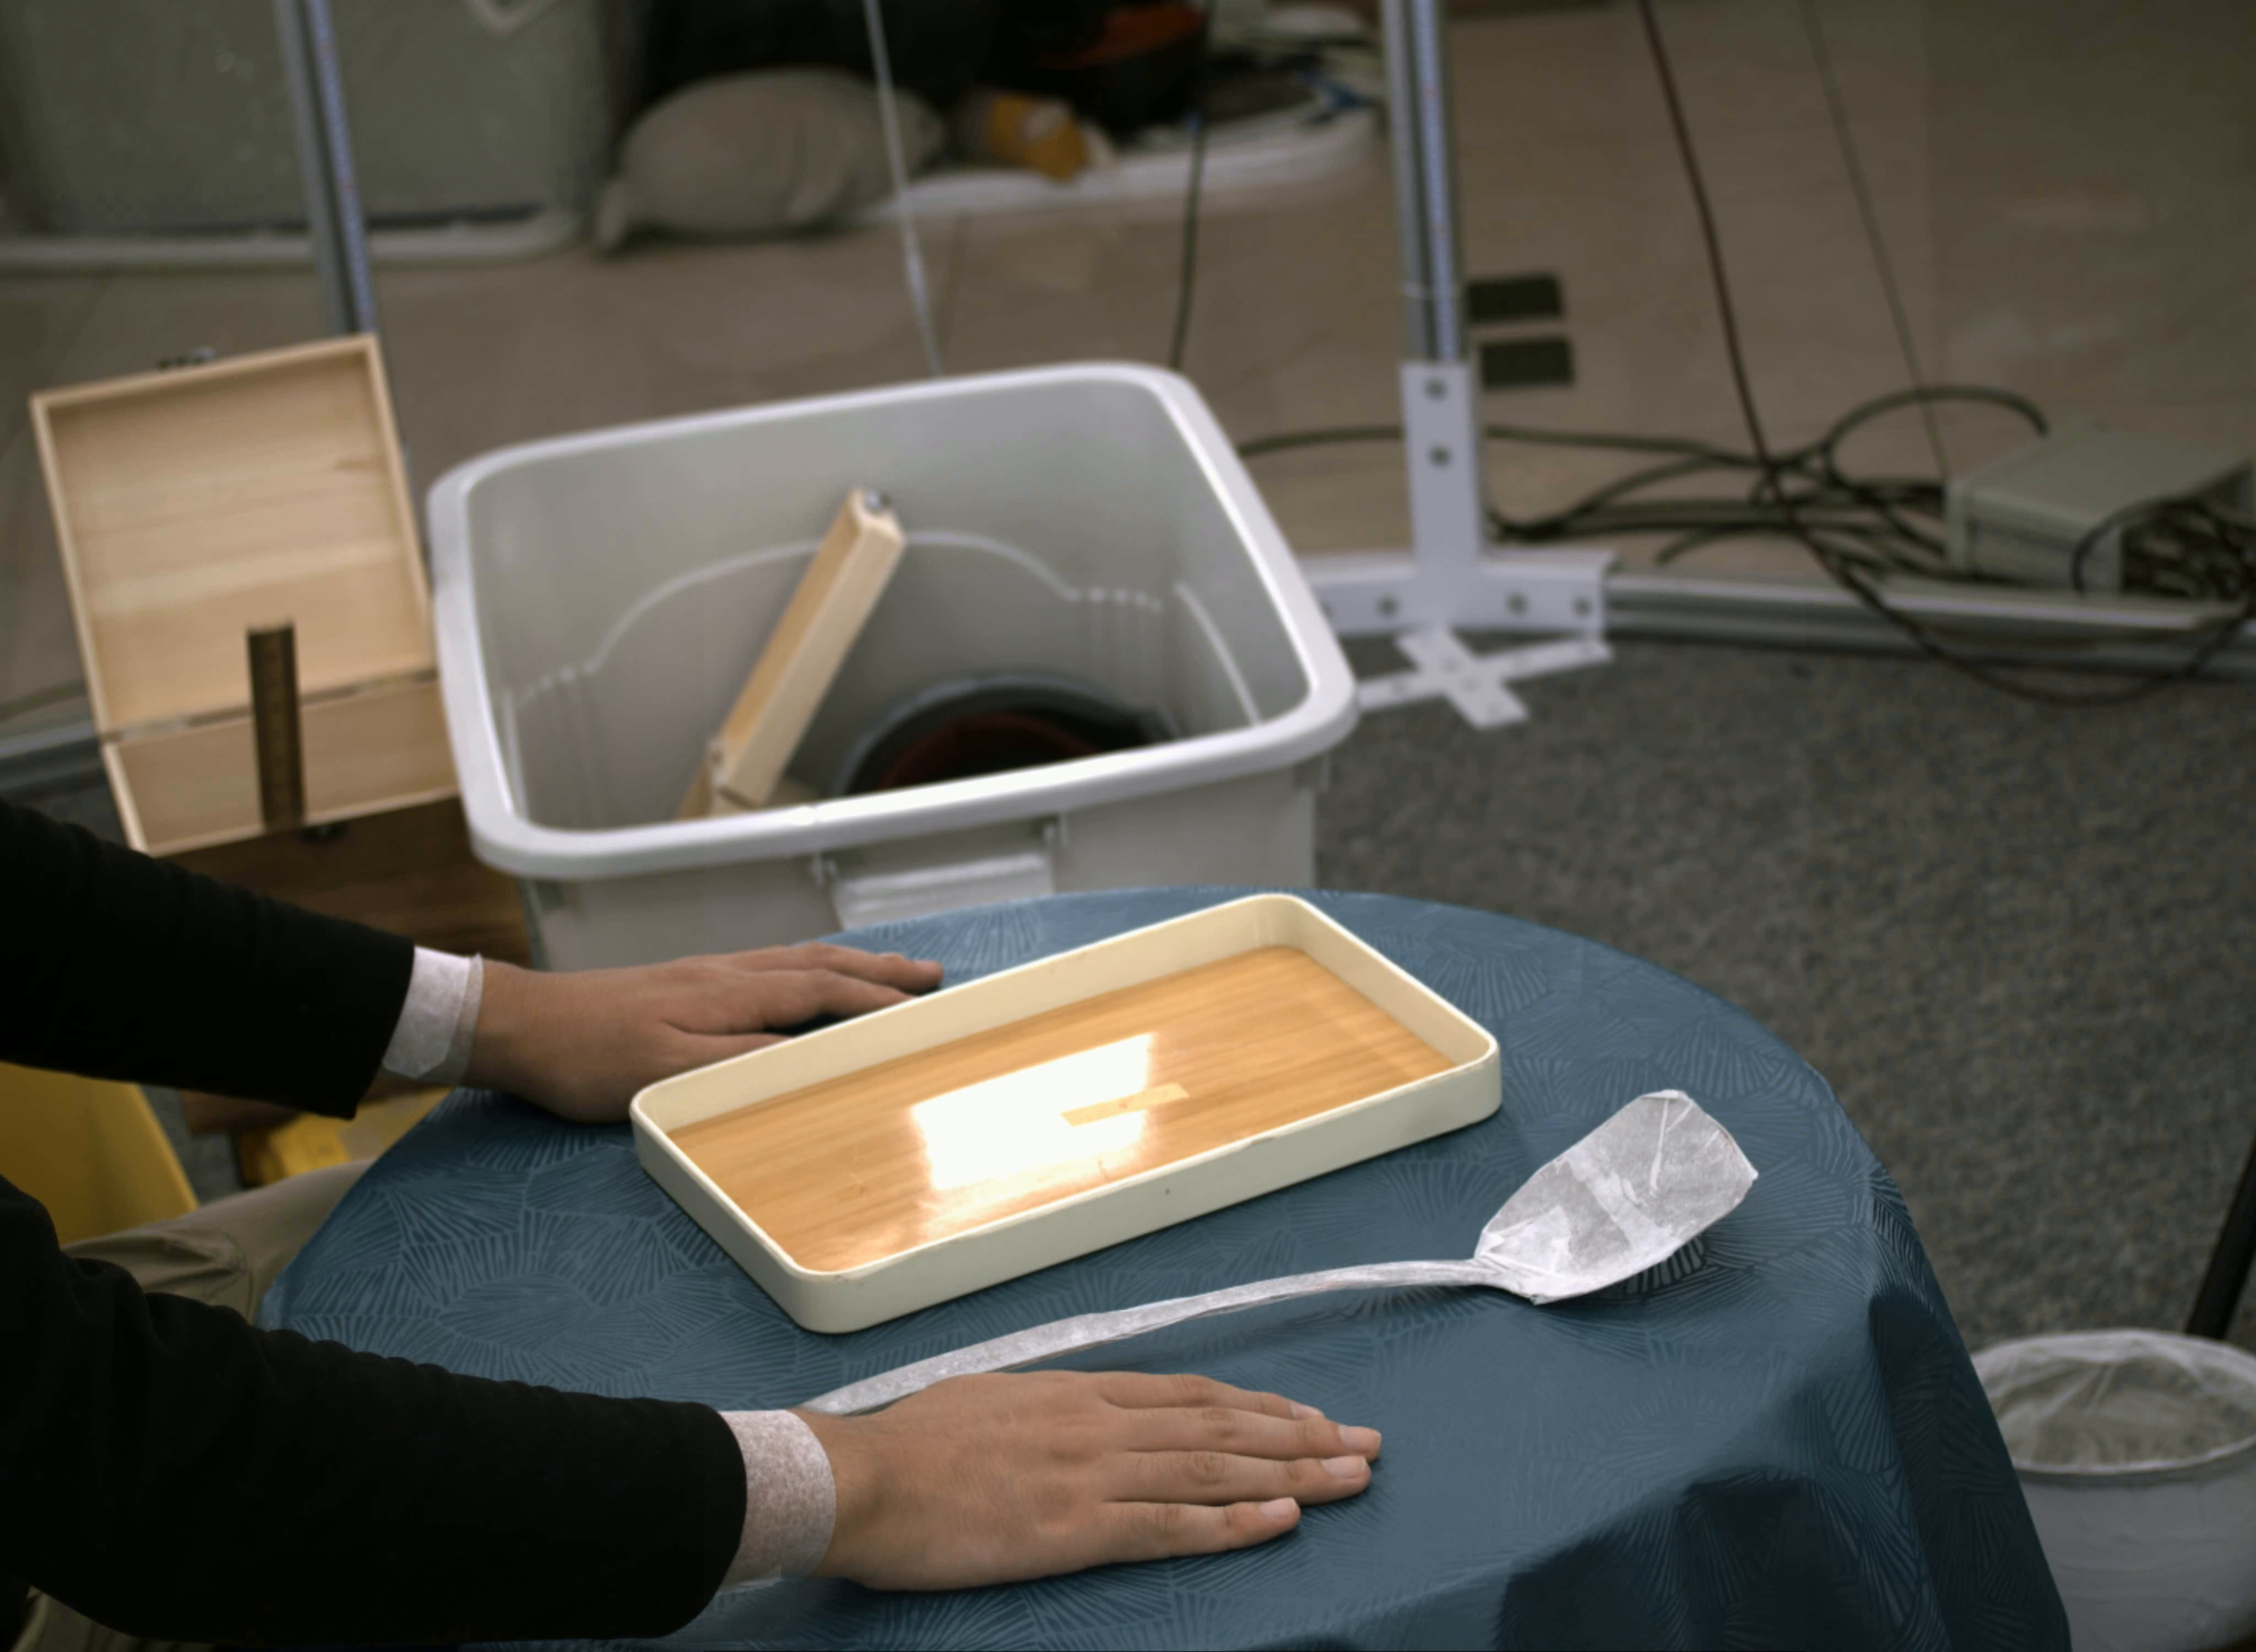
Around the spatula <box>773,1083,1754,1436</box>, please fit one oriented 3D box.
[{"bbox_3d":[0.048,0.163,2.037,0.364,0.045,0.097,-12,26,-11],"label":"spatula"}]

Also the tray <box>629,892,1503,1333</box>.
[{"bbox_3d":[-0.025,0.107,2.191,0.299,0.028,0.189,-17,27,-21],"label":"tray"}]
